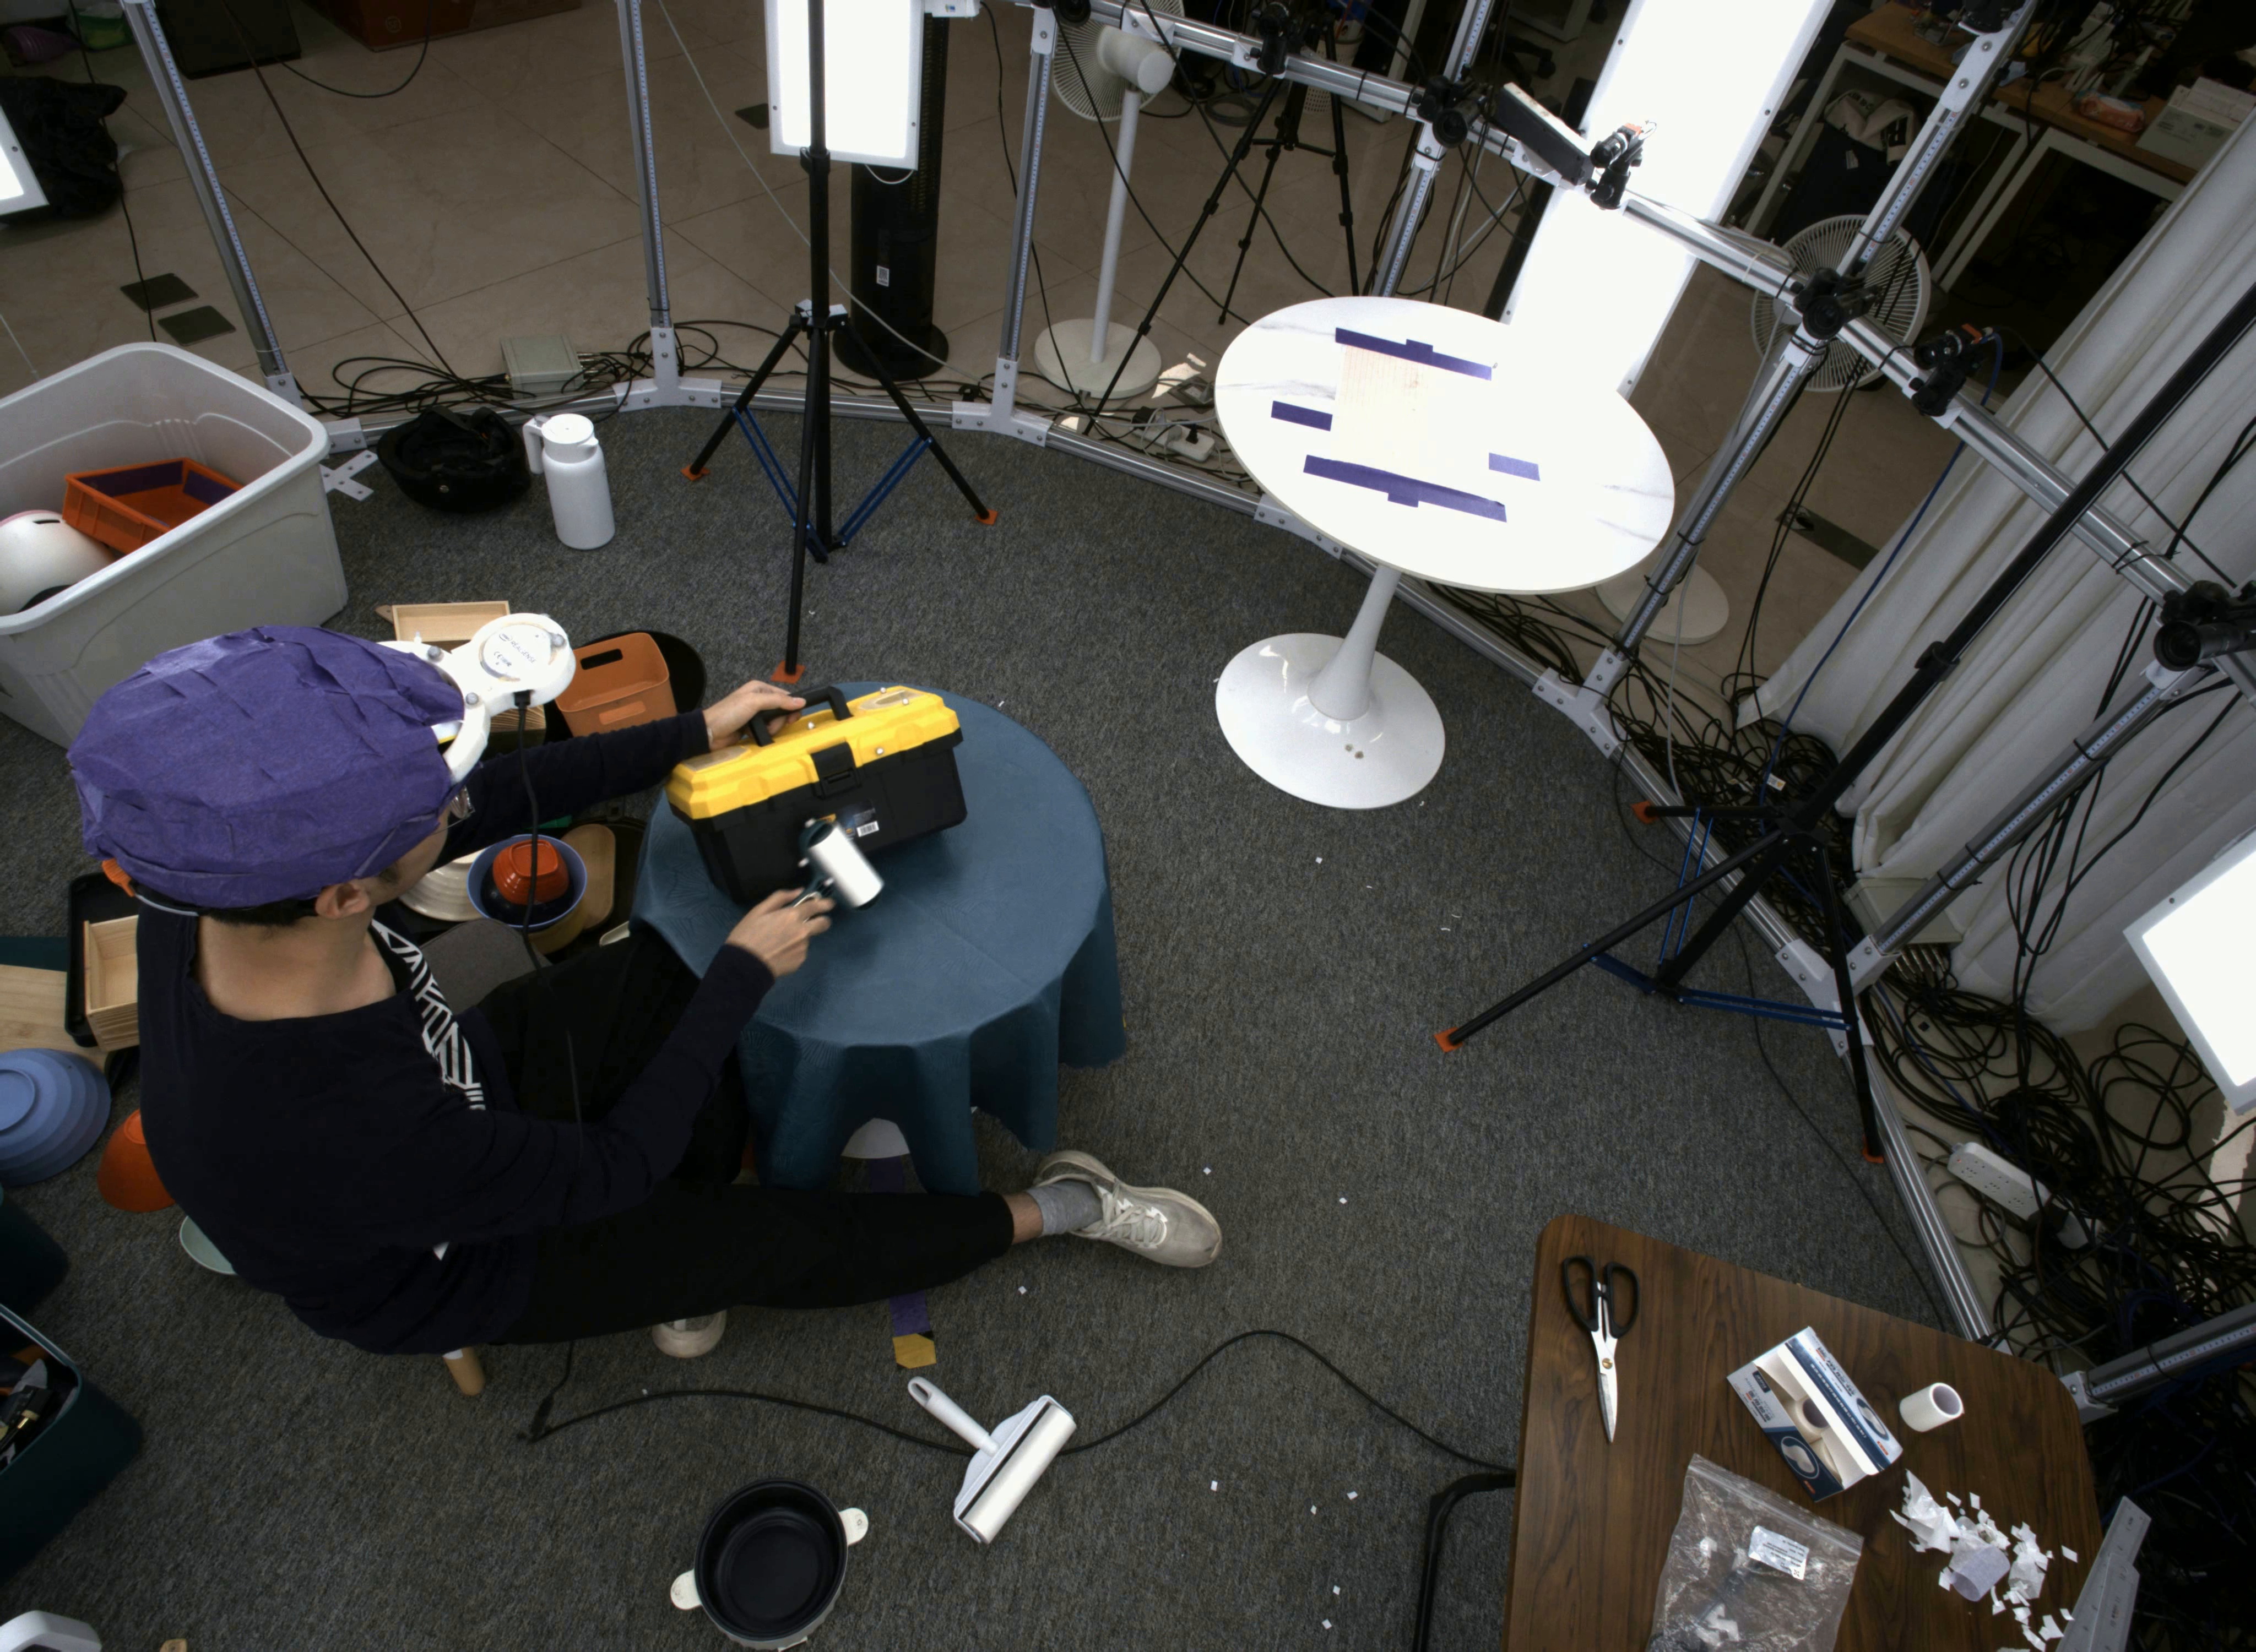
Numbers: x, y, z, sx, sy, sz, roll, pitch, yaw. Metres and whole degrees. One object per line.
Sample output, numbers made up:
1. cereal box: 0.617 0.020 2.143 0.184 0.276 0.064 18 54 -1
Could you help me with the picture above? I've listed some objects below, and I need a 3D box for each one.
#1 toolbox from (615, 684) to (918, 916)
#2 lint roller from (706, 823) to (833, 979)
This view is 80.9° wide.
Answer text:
1. toolbox: -0.445 -0.039 1.622 0.353 0.178 0.175 -26 24 -29
2. lint roller: -0.433 0.104 1.529 0.047 0.139 0.179 -4 44 38
